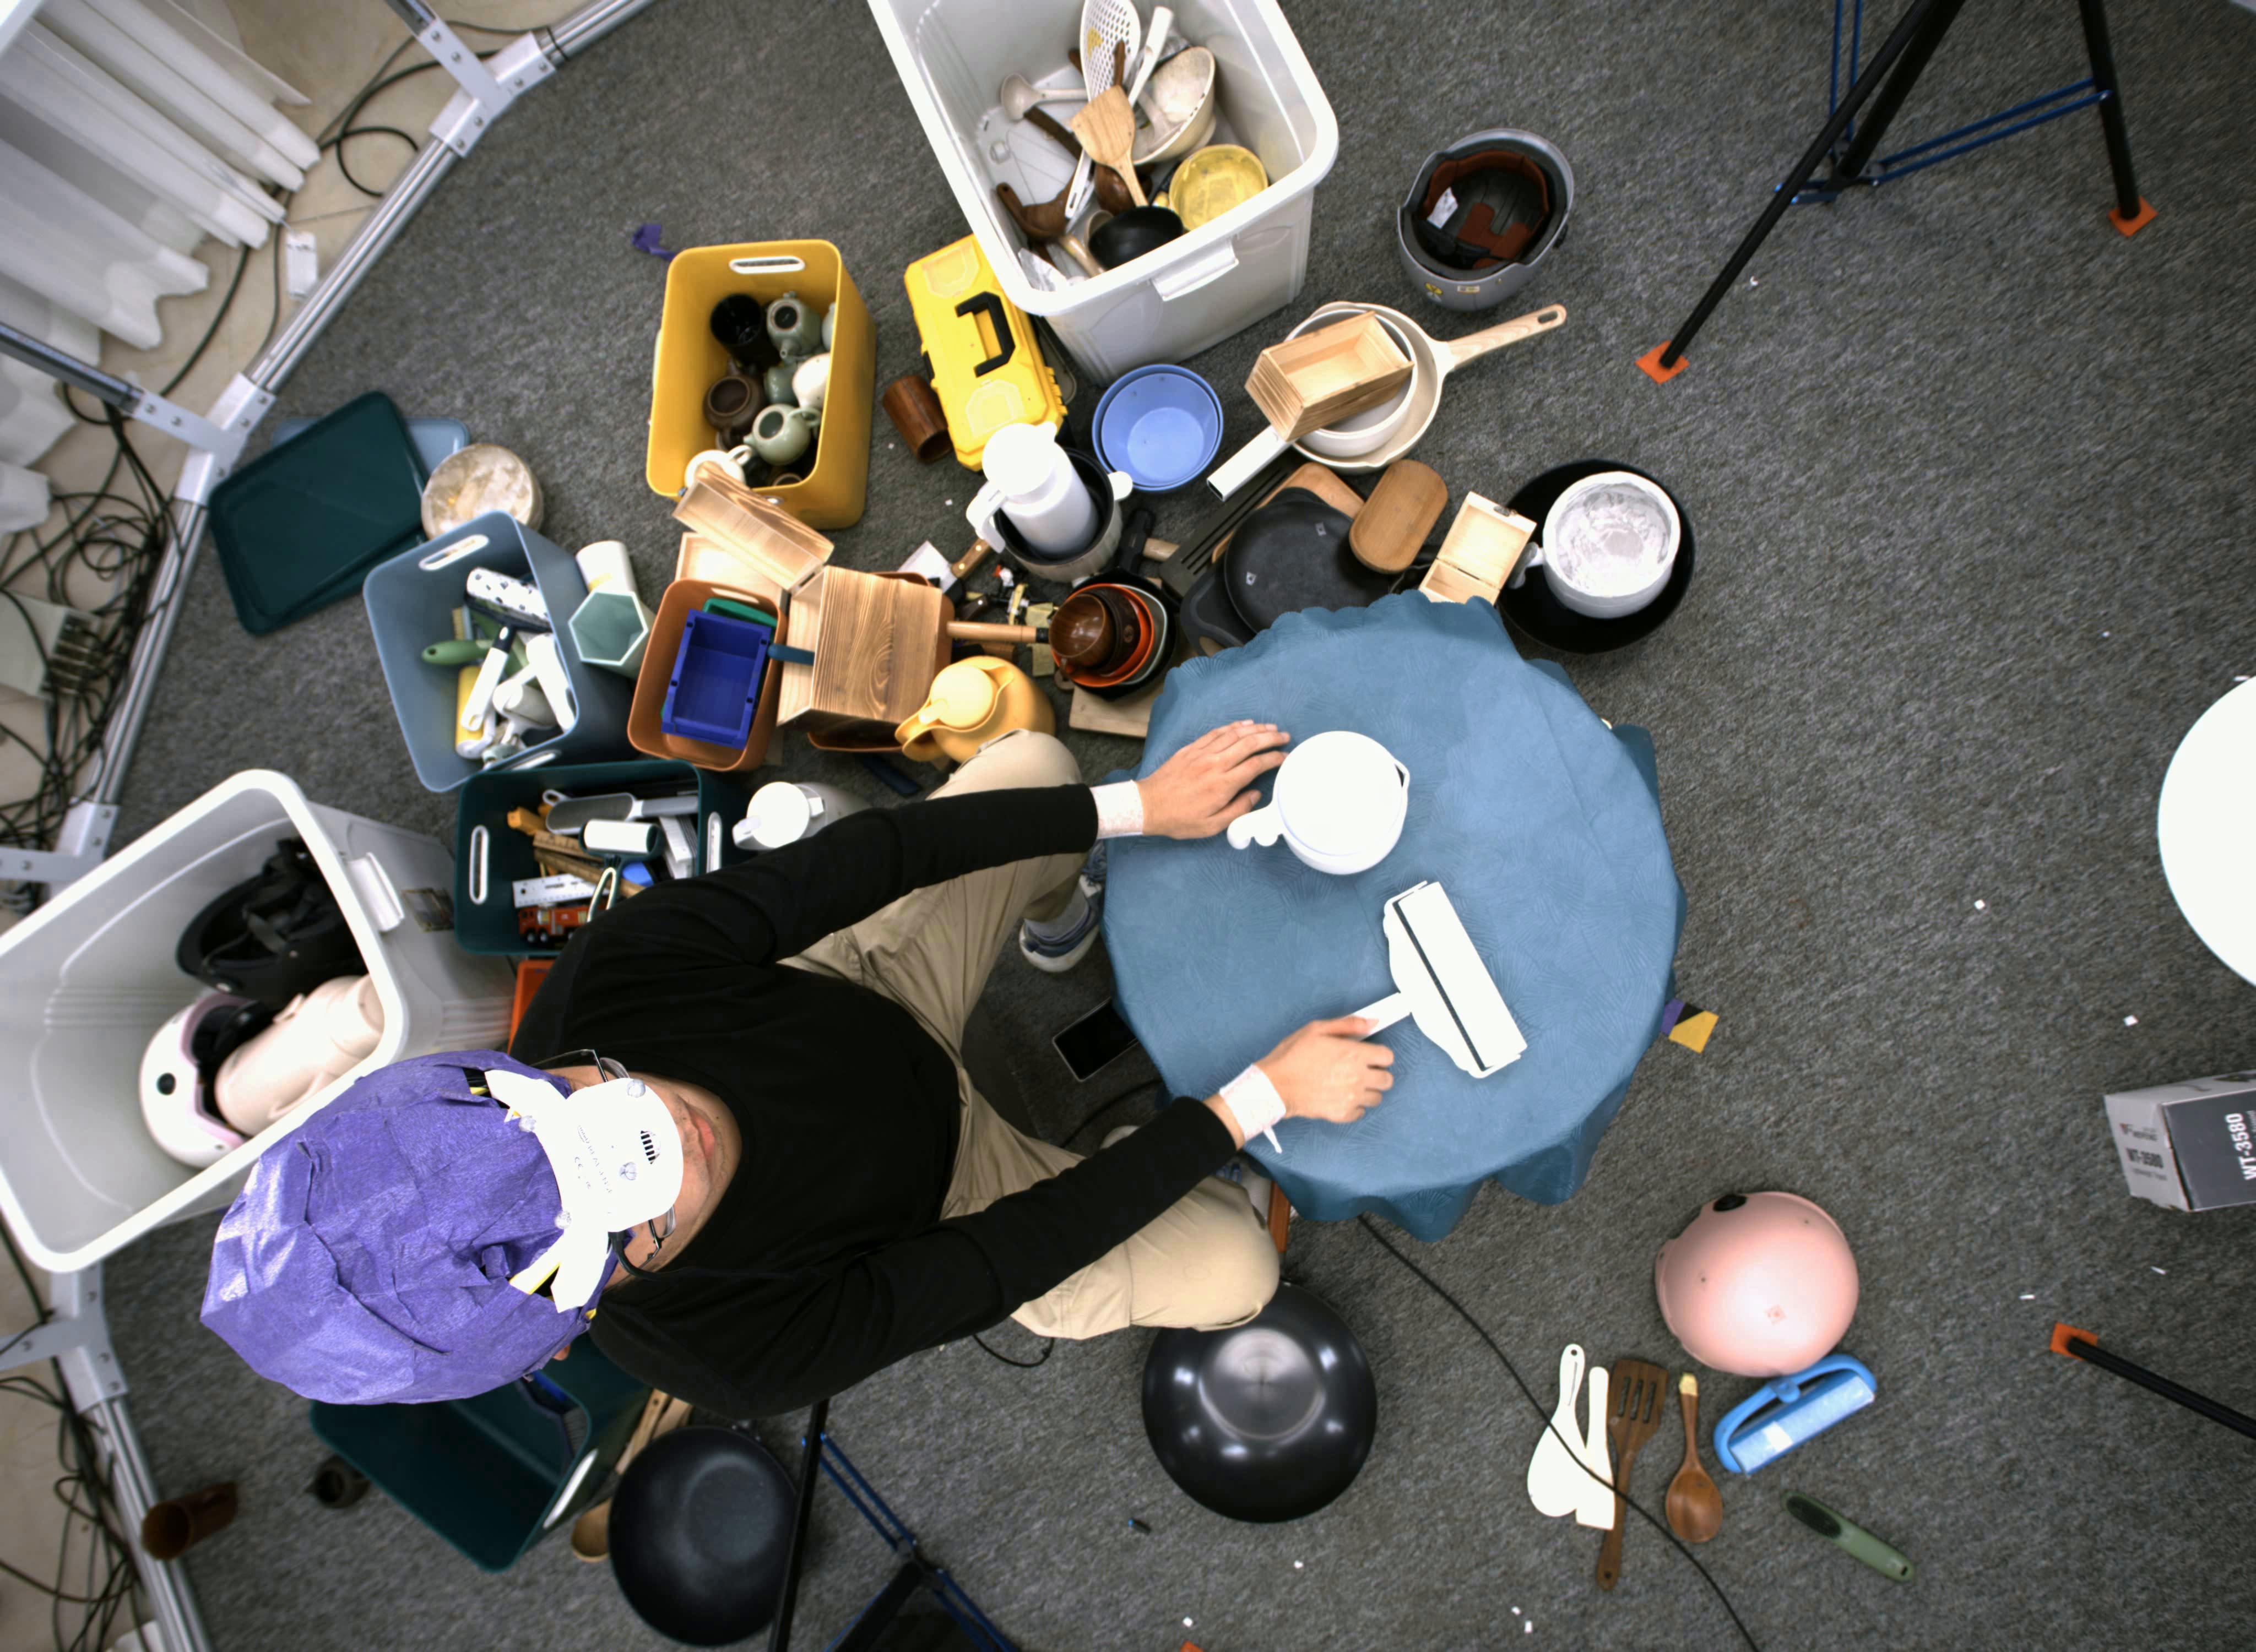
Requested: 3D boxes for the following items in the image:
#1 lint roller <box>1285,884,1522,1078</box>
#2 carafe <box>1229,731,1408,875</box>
[{"bbox_3d":[0.263,0.194,1.433,0.227,0.048,0.201,-29,83,9],"label":"lint roller"},{"bbox_3d":[0.191,-0.014,1.393,0.192,0.182,0.131,-20,81,10],"label":"carafe"}]
